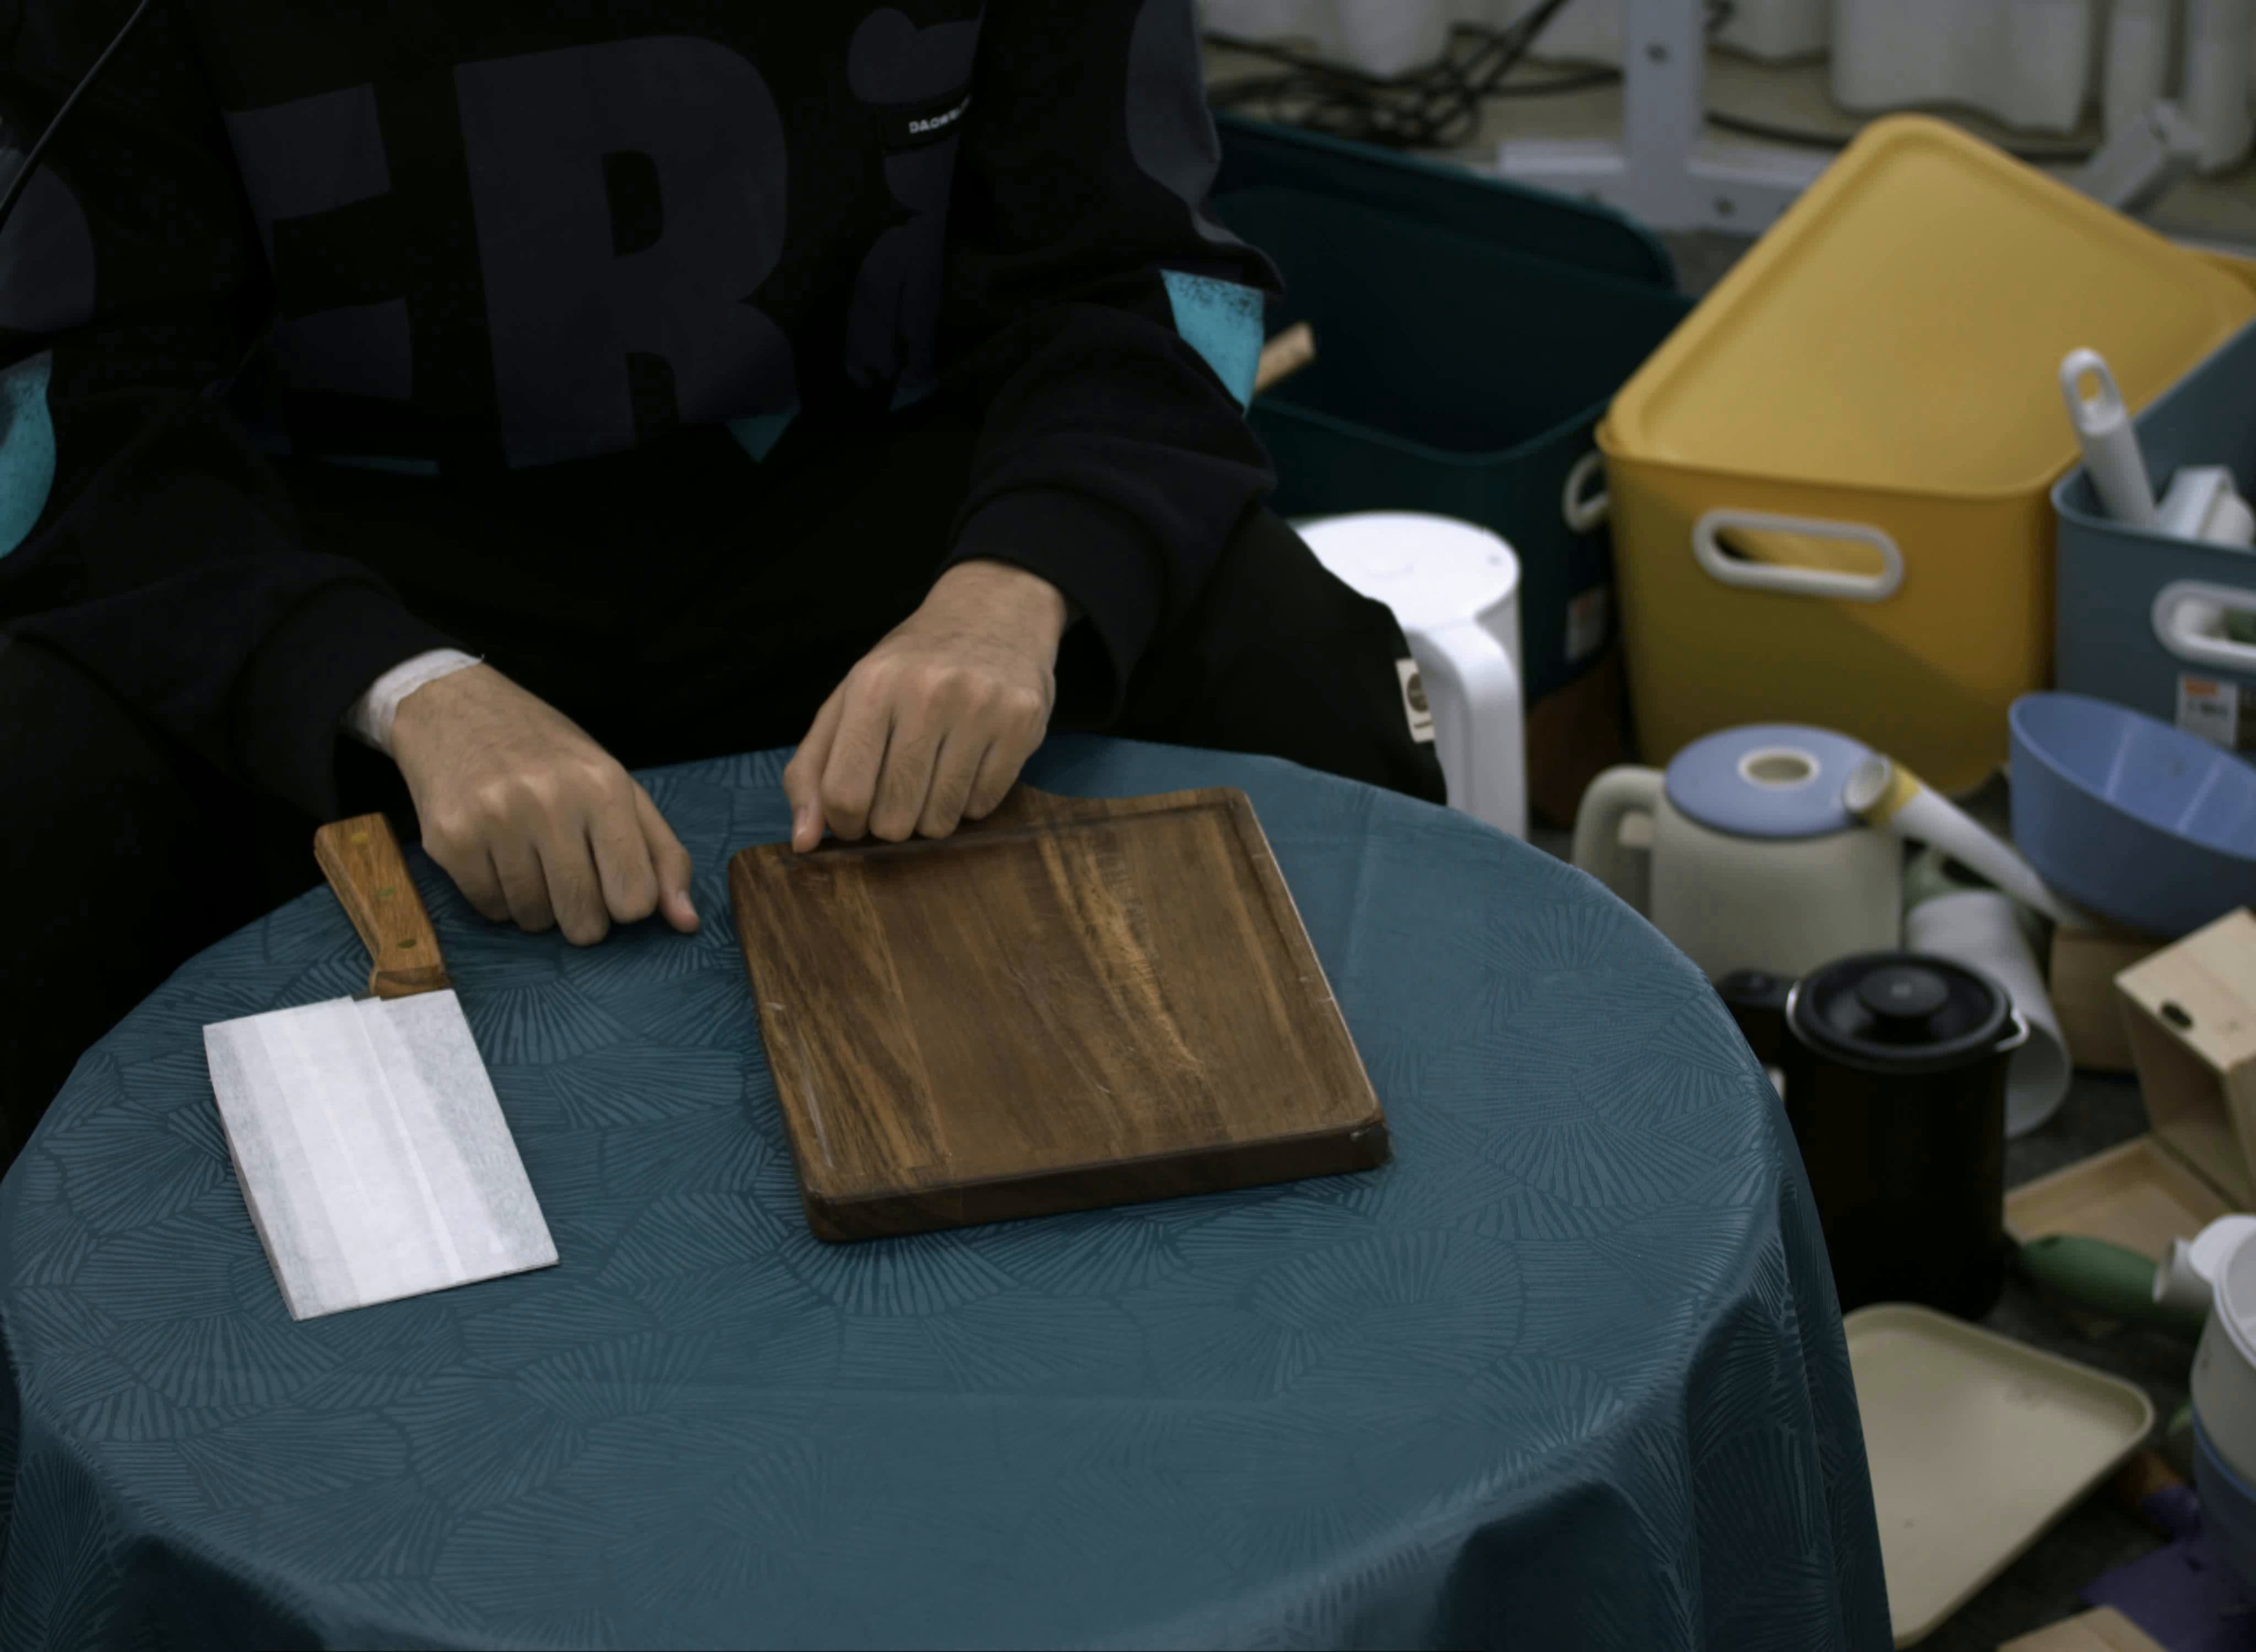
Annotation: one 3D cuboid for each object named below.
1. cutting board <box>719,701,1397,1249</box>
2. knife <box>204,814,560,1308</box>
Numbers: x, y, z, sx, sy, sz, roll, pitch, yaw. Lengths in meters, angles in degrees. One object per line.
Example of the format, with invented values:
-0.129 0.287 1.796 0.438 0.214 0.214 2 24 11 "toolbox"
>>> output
-0.039 0.040 2.001 0.201 0.023 0.356 -7 28 -8 "cutting board"
-0.271 0.081 1.952 0.093 0.021 0.309 -12 31 -13 "knife"
